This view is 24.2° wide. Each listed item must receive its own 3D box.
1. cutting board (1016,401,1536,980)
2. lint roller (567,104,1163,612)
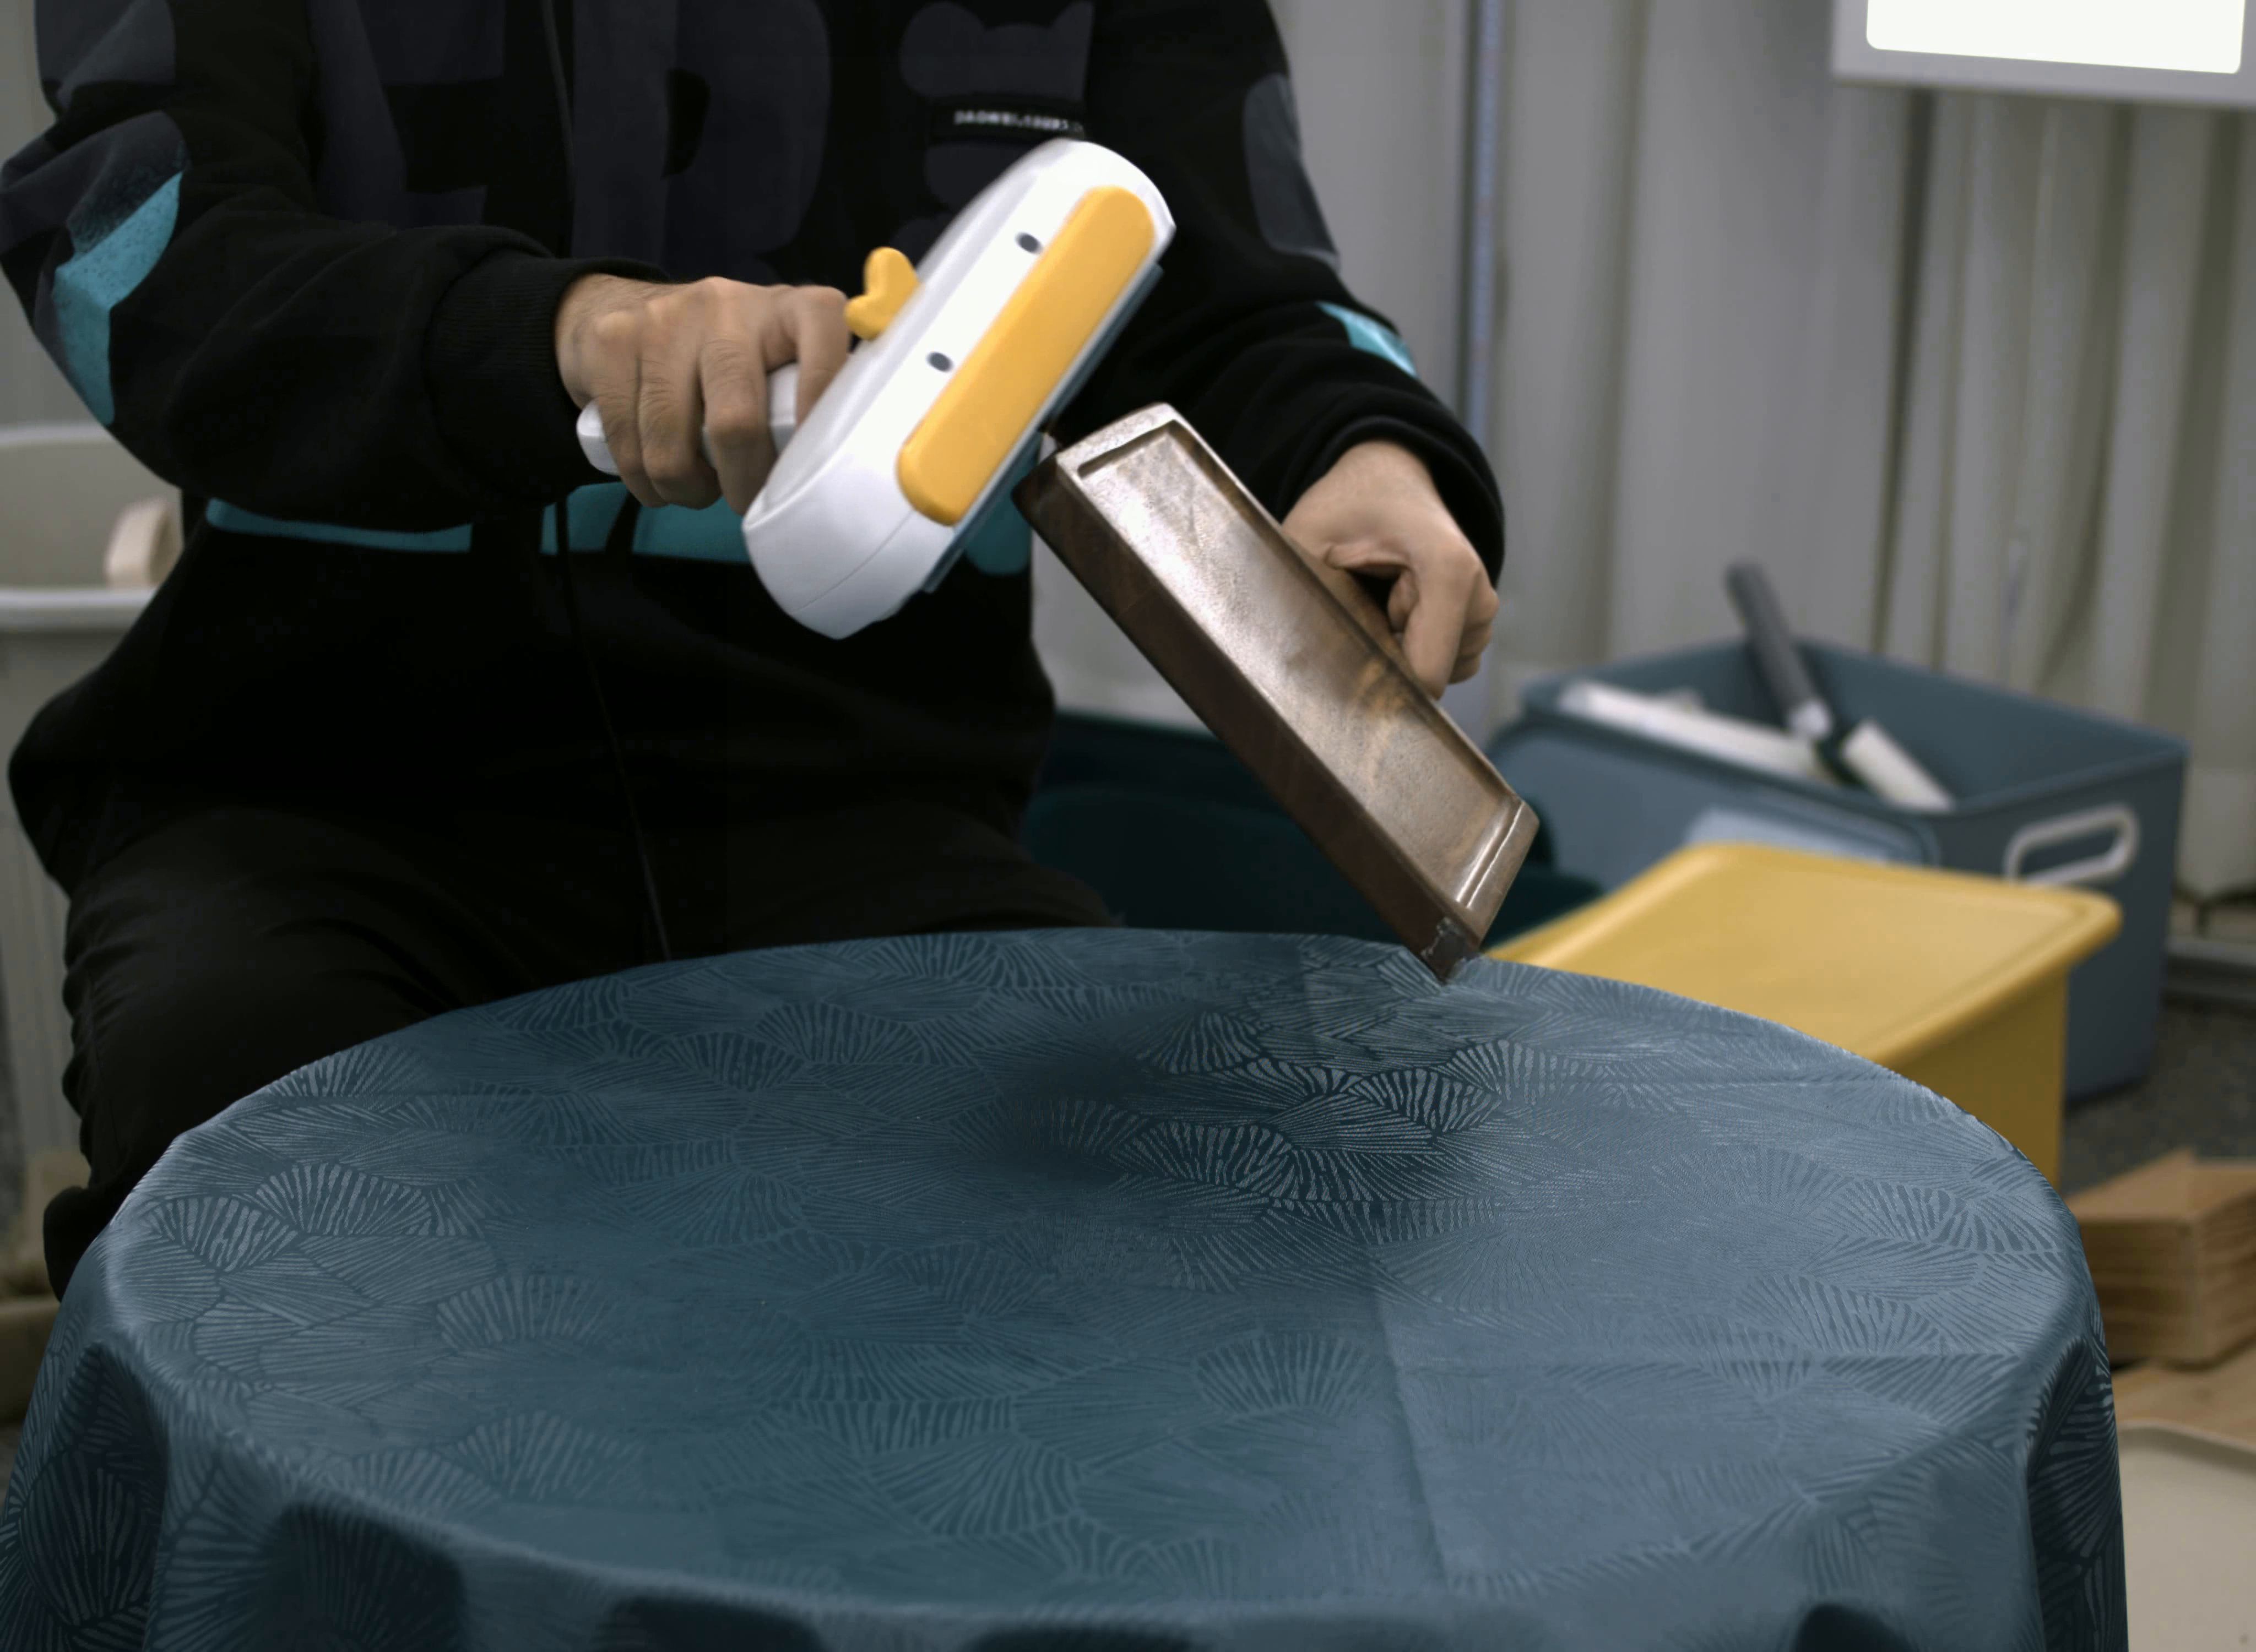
[{"bbox_3d":[0.059,-0.056,1.726,0.023,0.201,0.352,-42,1,11],"label":"cutting board"},{"bbox_3d":[-0.094,-0.131,1.615,0.191,0.075,0.192,-20,34,44],"label":"lint roller"}]
